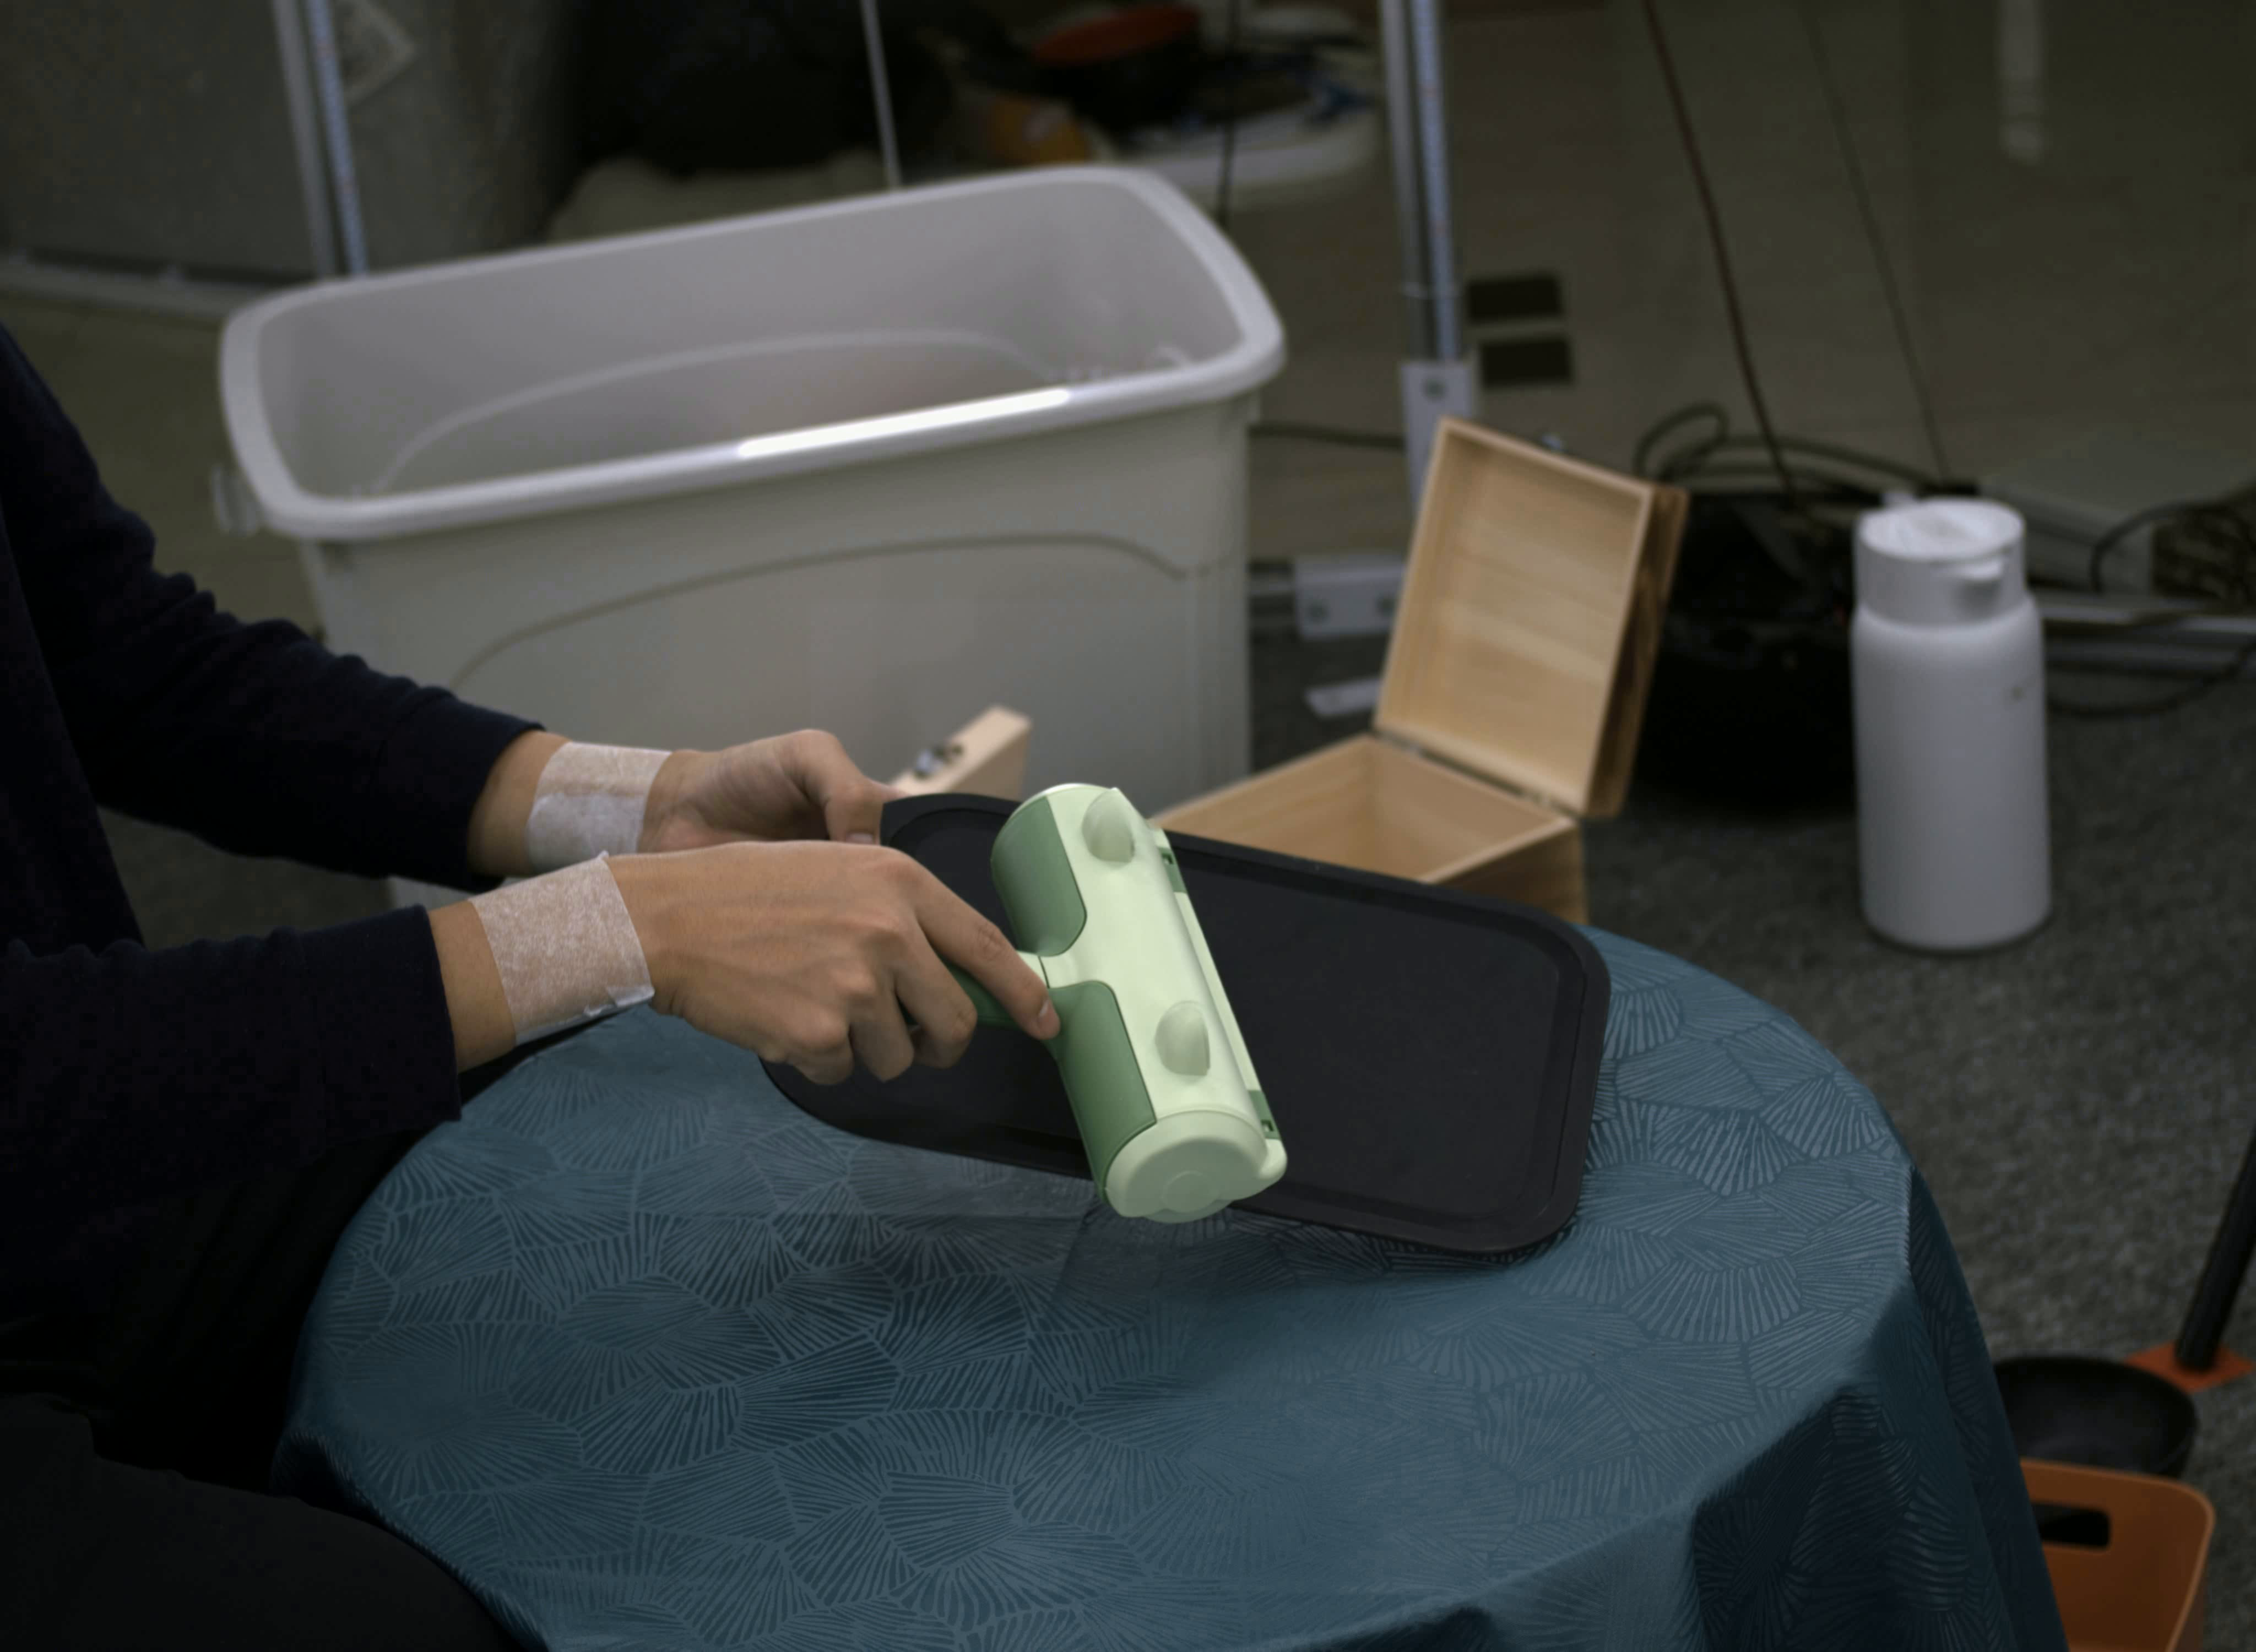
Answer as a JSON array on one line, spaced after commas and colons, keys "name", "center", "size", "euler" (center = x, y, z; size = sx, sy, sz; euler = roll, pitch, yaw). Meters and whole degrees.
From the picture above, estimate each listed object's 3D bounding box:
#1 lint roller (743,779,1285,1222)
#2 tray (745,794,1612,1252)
[{"name": "lint roller", "center": [-0.044, 0.044, 2.038], "size": [0.184, 0.083, 0.195], "euler": [15, 35, -30]}, {"name": "tray", "center": [0.017, 0.069, 2.145], "size": [0.325, 0.010, 0.207], "euler": [12, 38, 4]}]
